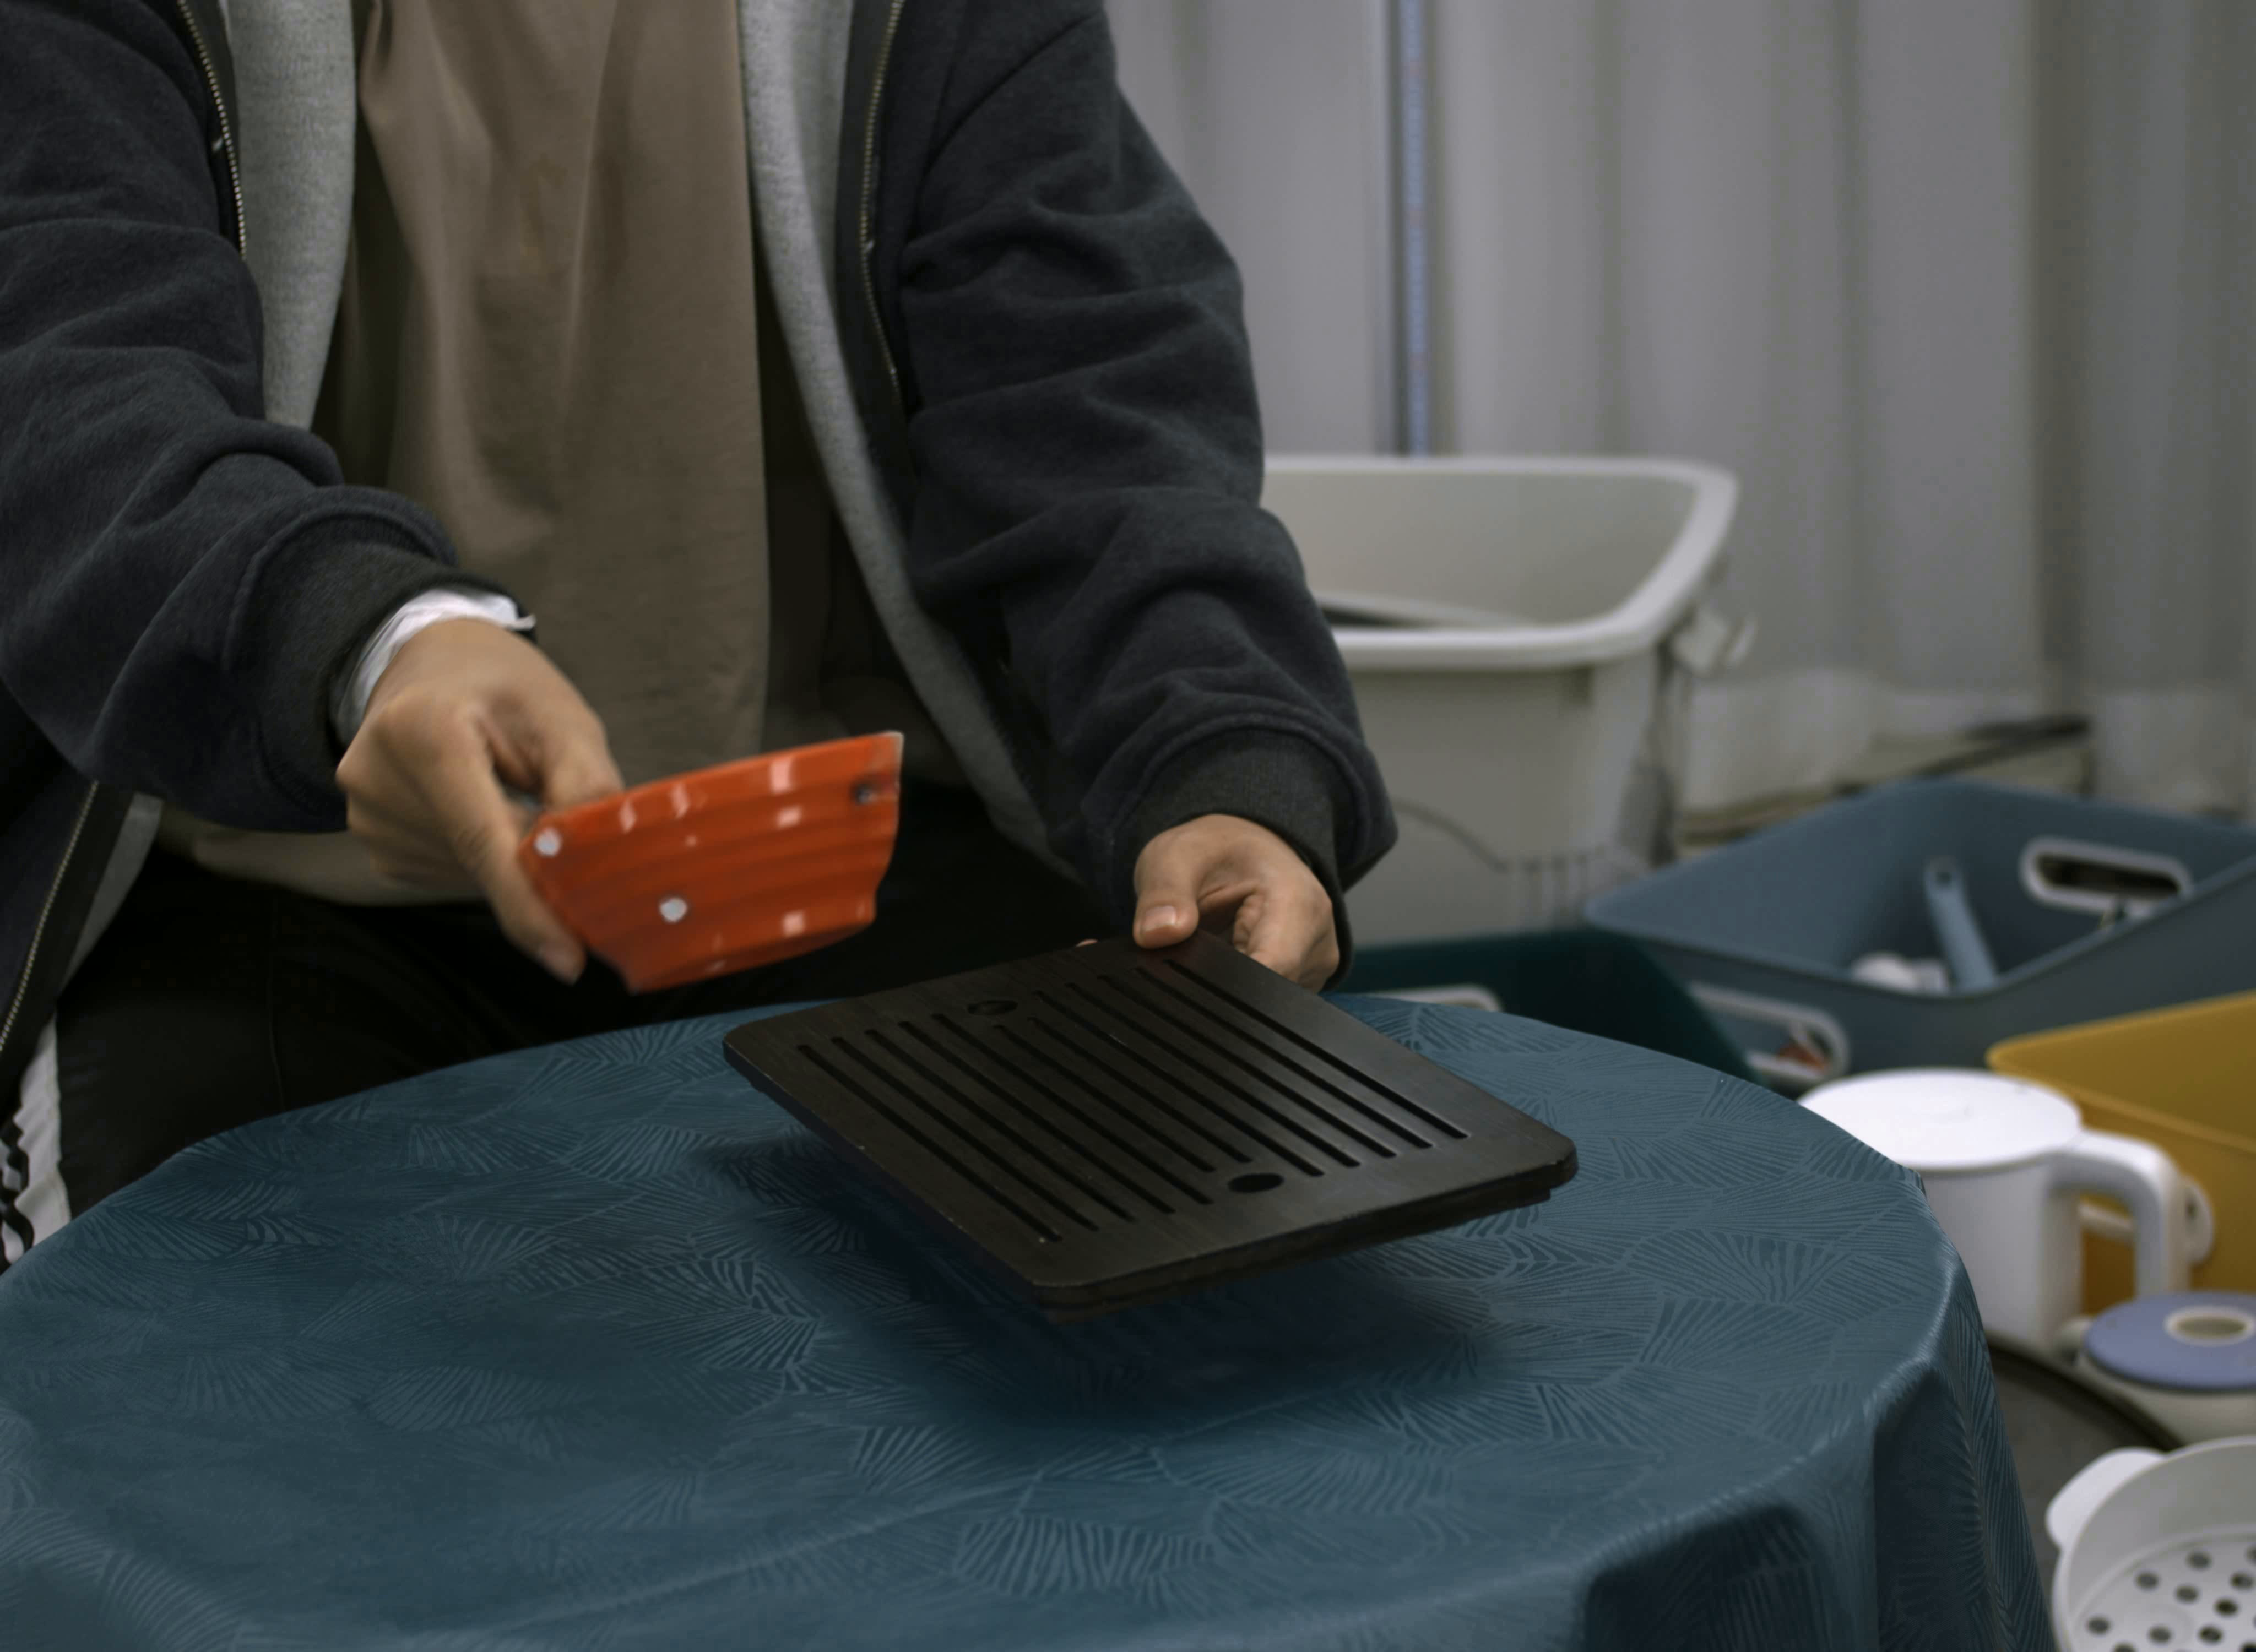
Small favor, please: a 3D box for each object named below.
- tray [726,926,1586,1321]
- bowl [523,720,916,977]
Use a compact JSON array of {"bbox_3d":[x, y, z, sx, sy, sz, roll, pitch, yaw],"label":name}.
[{"bbox_3d":[0.001,0.087,1.667,0.169,0.018,0.308,-13,16,-19],"label":"tray"},{"bbox_3d":[-0.113,0.010,1.580,0.118,0.051,0.118,-14,-7,-2],"label":"bowl"}]
